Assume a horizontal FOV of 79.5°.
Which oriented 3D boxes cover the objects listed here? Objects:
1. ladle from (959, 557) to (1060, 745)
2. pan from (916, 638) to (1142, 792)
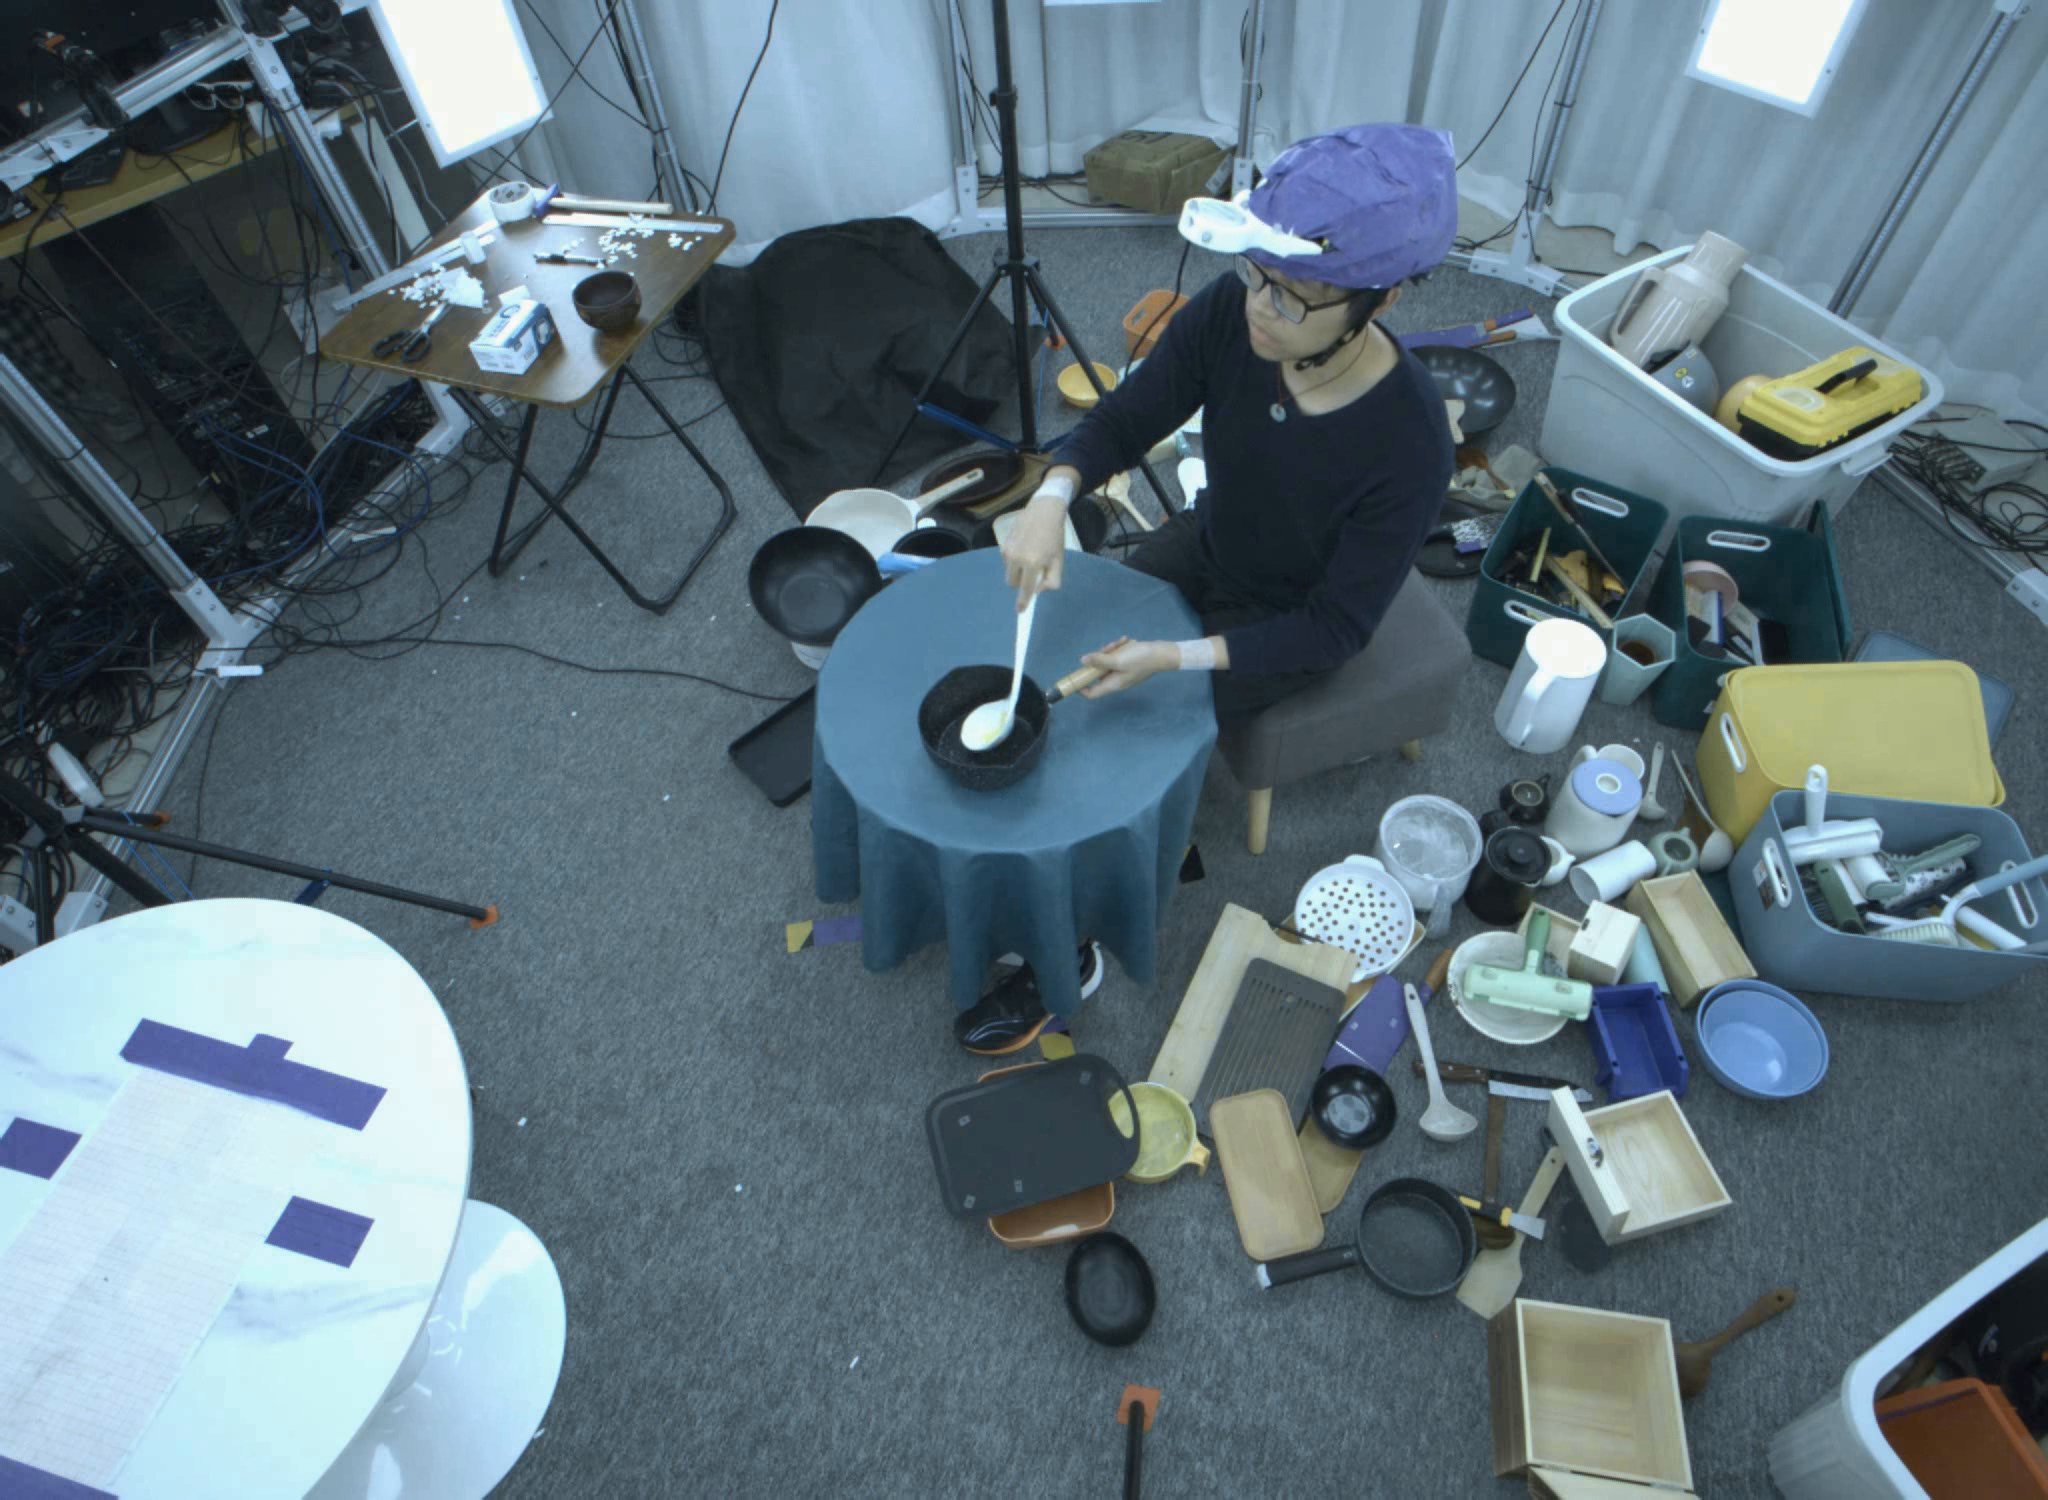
[{"bbox_3d":[-0.024,-0.137,1.733,0.071,0.293,0.088,8,29,-17],"label":"ladle"},{"bbox_3d":[0.015,-0.063,1.765,0.345,0.109,0.203,-24,56,-12],"label":"pan"}]
